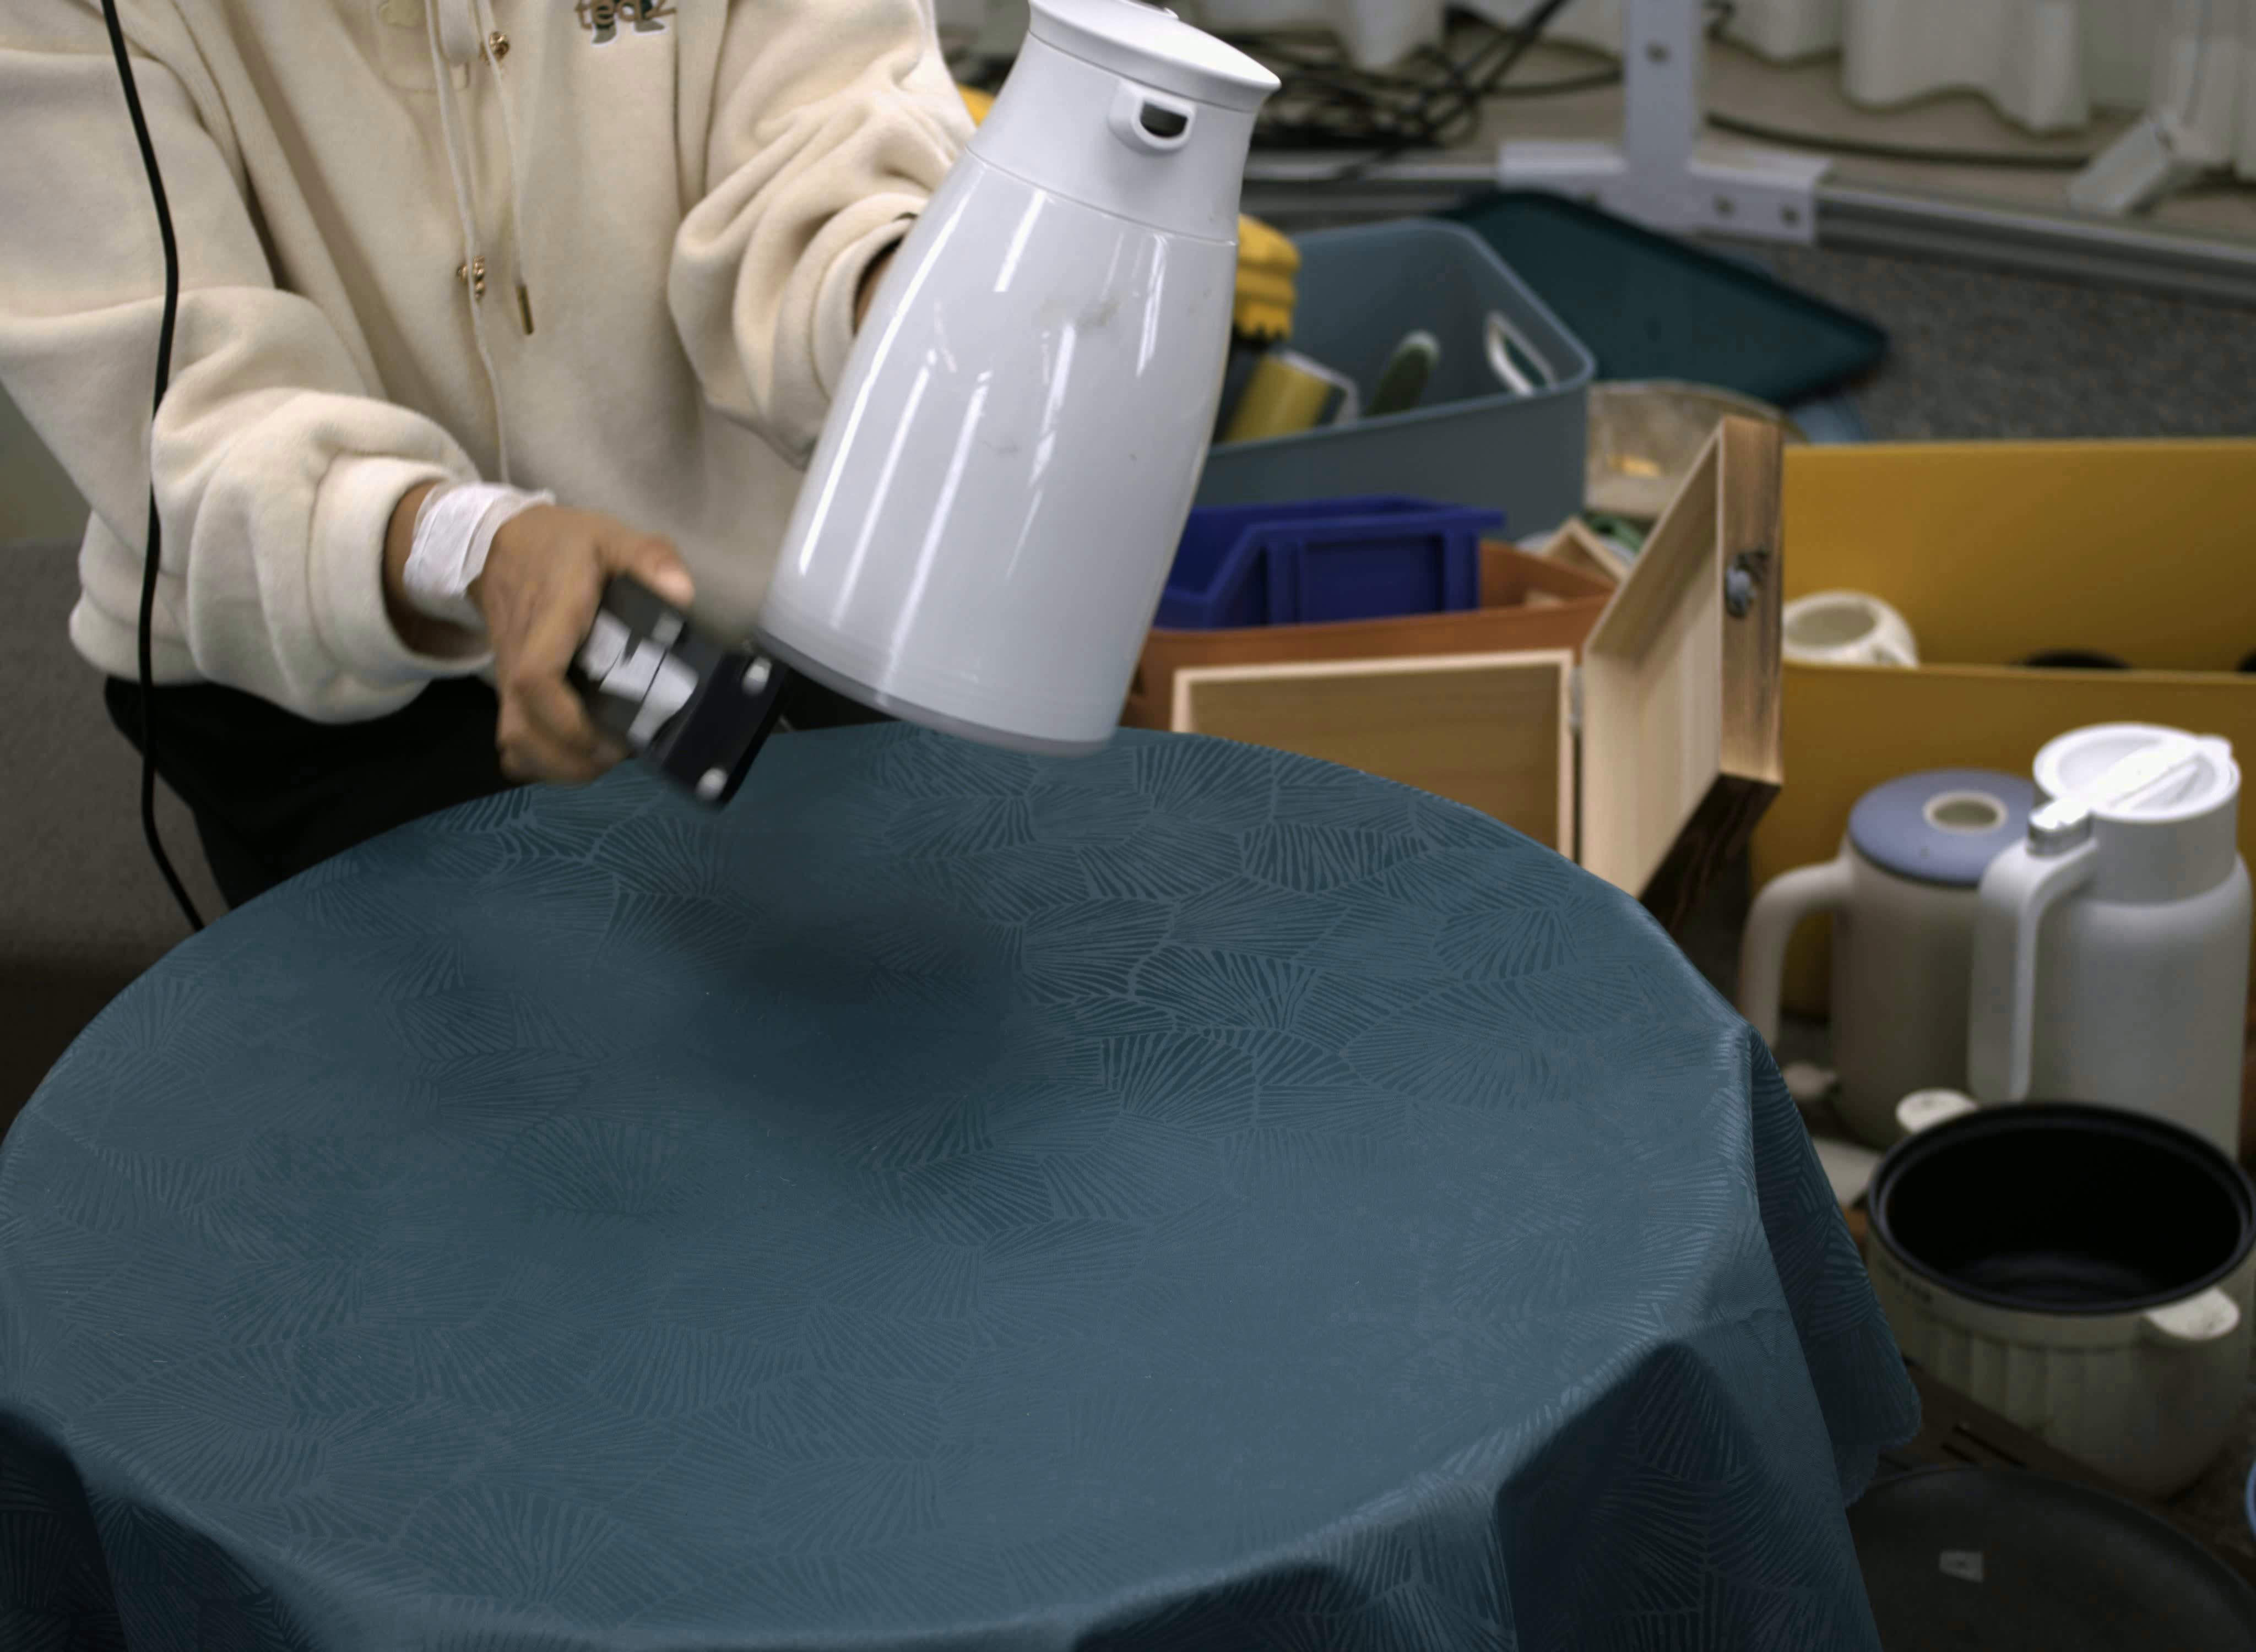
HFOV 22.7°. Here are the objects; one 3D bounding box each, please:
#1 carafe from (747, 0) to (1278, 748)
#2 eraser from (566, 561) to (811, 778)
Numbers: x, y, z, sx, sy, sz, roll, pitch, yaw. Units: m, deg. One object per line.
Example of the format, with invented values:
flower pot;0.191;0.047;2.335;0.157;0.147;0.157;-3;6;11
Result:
carafe;-0.035;-0.171;1.968;0.132;0.248;0.169;17;10;-14
eraser;-0.150;-0.054;1.908;0.030;0.054;0.125;31;-3;-26
